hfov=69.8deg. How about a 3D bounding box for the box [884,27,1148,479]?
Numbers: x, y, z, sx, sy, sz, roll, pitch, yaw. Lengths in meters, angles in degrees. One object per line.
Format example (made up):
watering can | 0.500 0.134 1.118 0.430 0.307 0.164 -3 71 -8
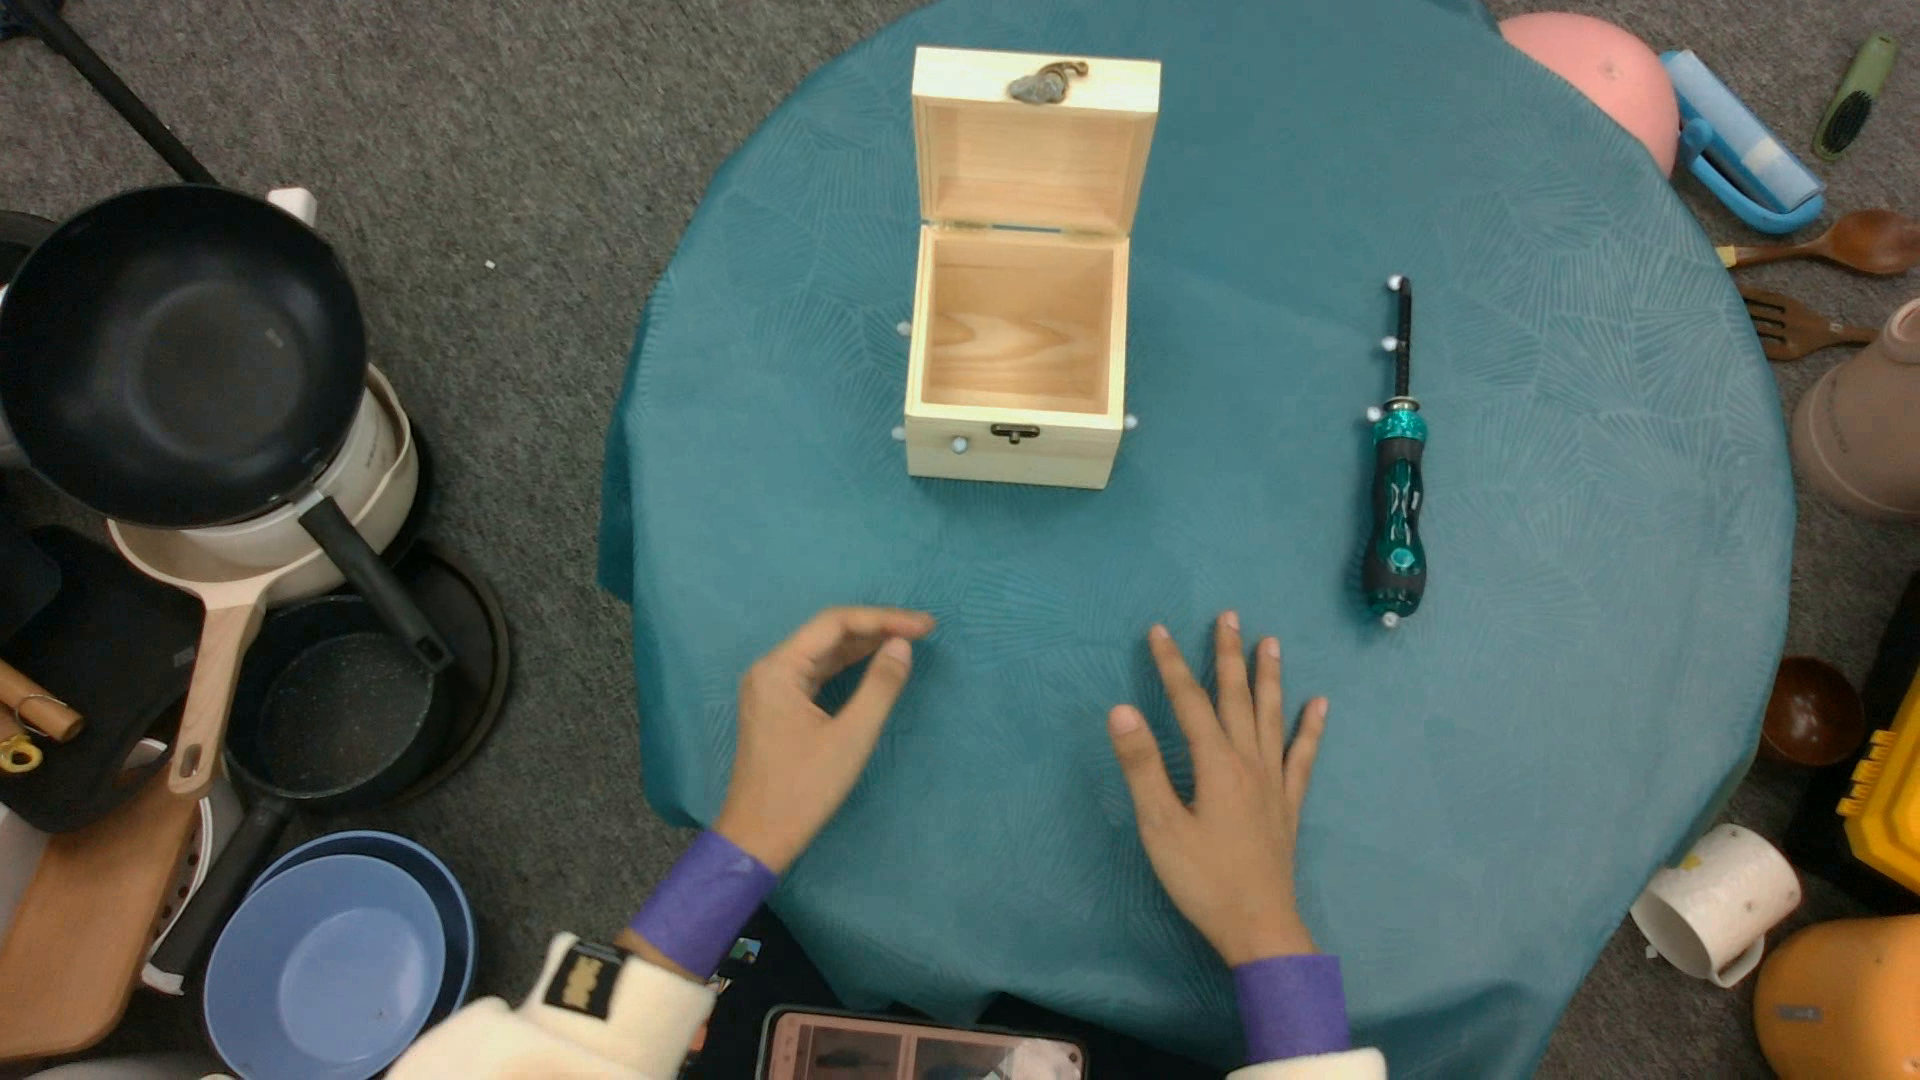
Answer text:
box | 0.020 -0.121 0.632 0.102 0.184 0.134 4 70 -1

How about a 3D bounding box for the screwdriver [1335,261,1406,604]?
screwdriver | 0.212 -0.060 0.700 0.034 0.033 0.190 8 70 2
